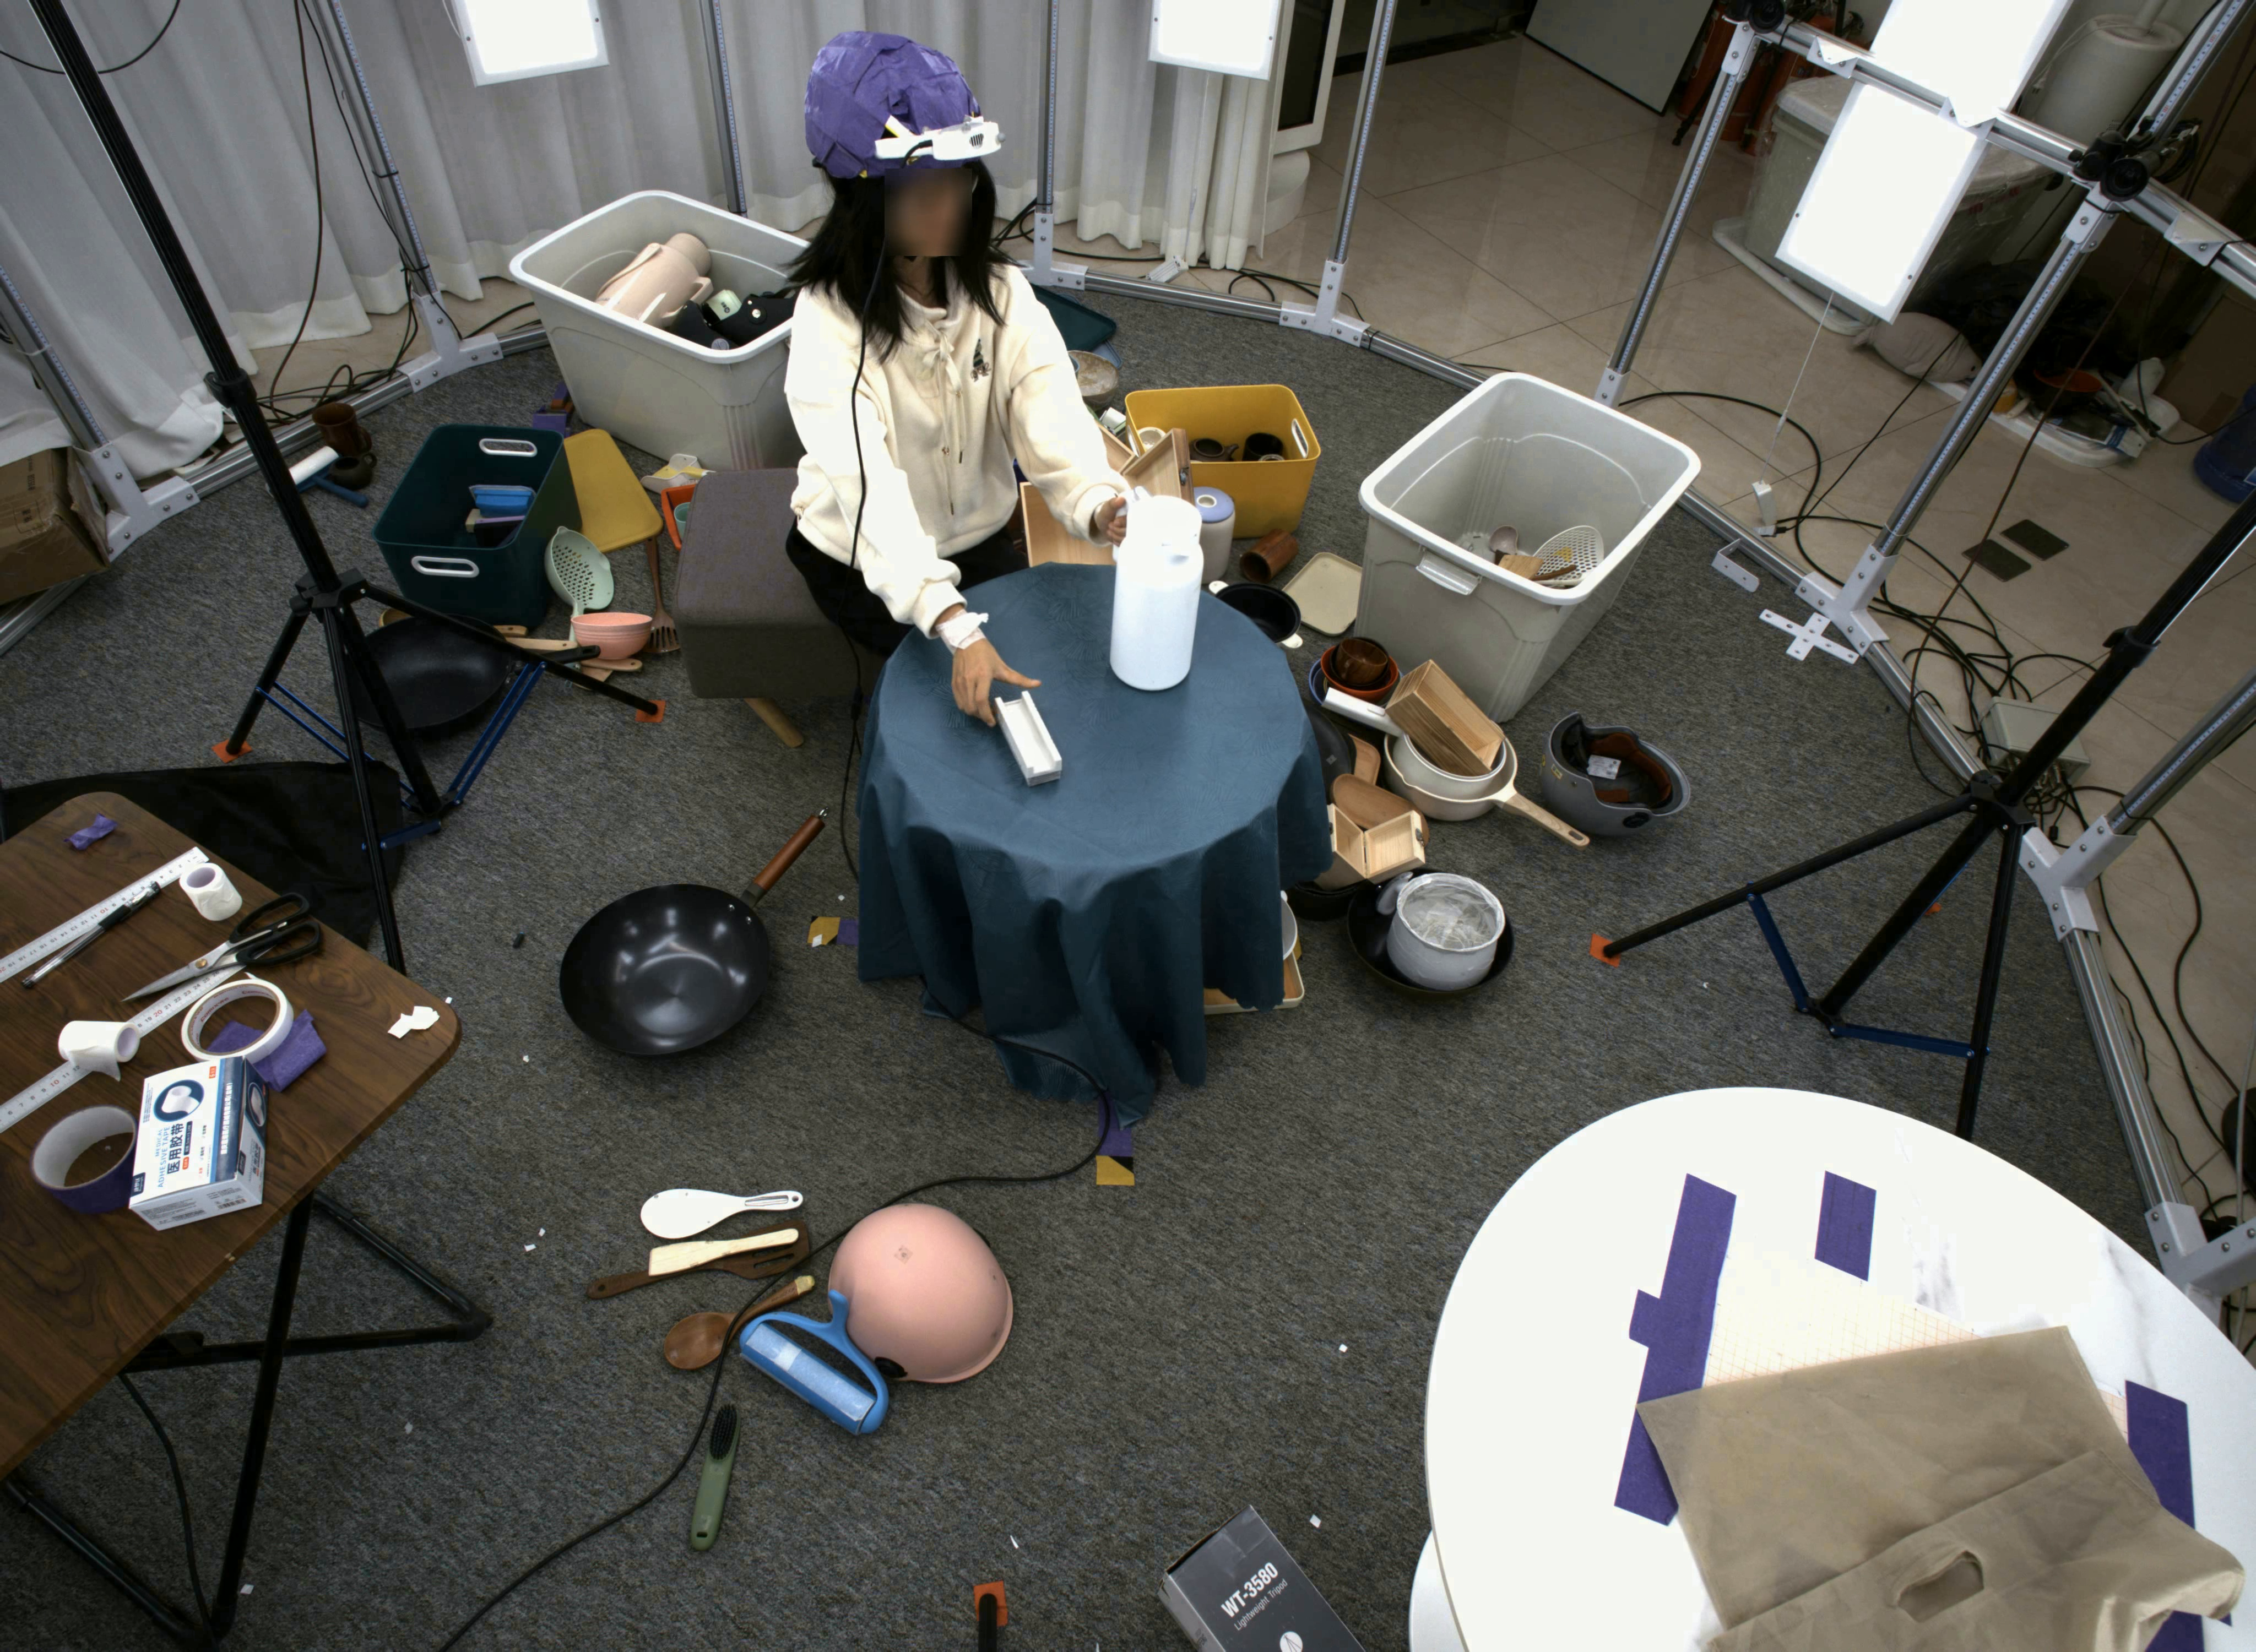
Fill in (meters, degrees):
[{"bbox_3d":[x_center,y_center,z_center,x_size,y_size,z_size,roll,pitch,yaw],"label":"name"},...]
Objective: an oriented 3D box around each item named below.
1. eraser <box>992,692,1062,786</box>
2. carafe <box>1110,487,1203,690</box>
[{"bbox_3d":[-0.137,-0.118,1.733,0.050,0.045,0.137,-18,53,-16],"label":"eraser"},{"bbox_3d":[0.030,-0.331,1.788,0.124,0.262,0.176,-22,54,-19],"label":"carafe"}]
